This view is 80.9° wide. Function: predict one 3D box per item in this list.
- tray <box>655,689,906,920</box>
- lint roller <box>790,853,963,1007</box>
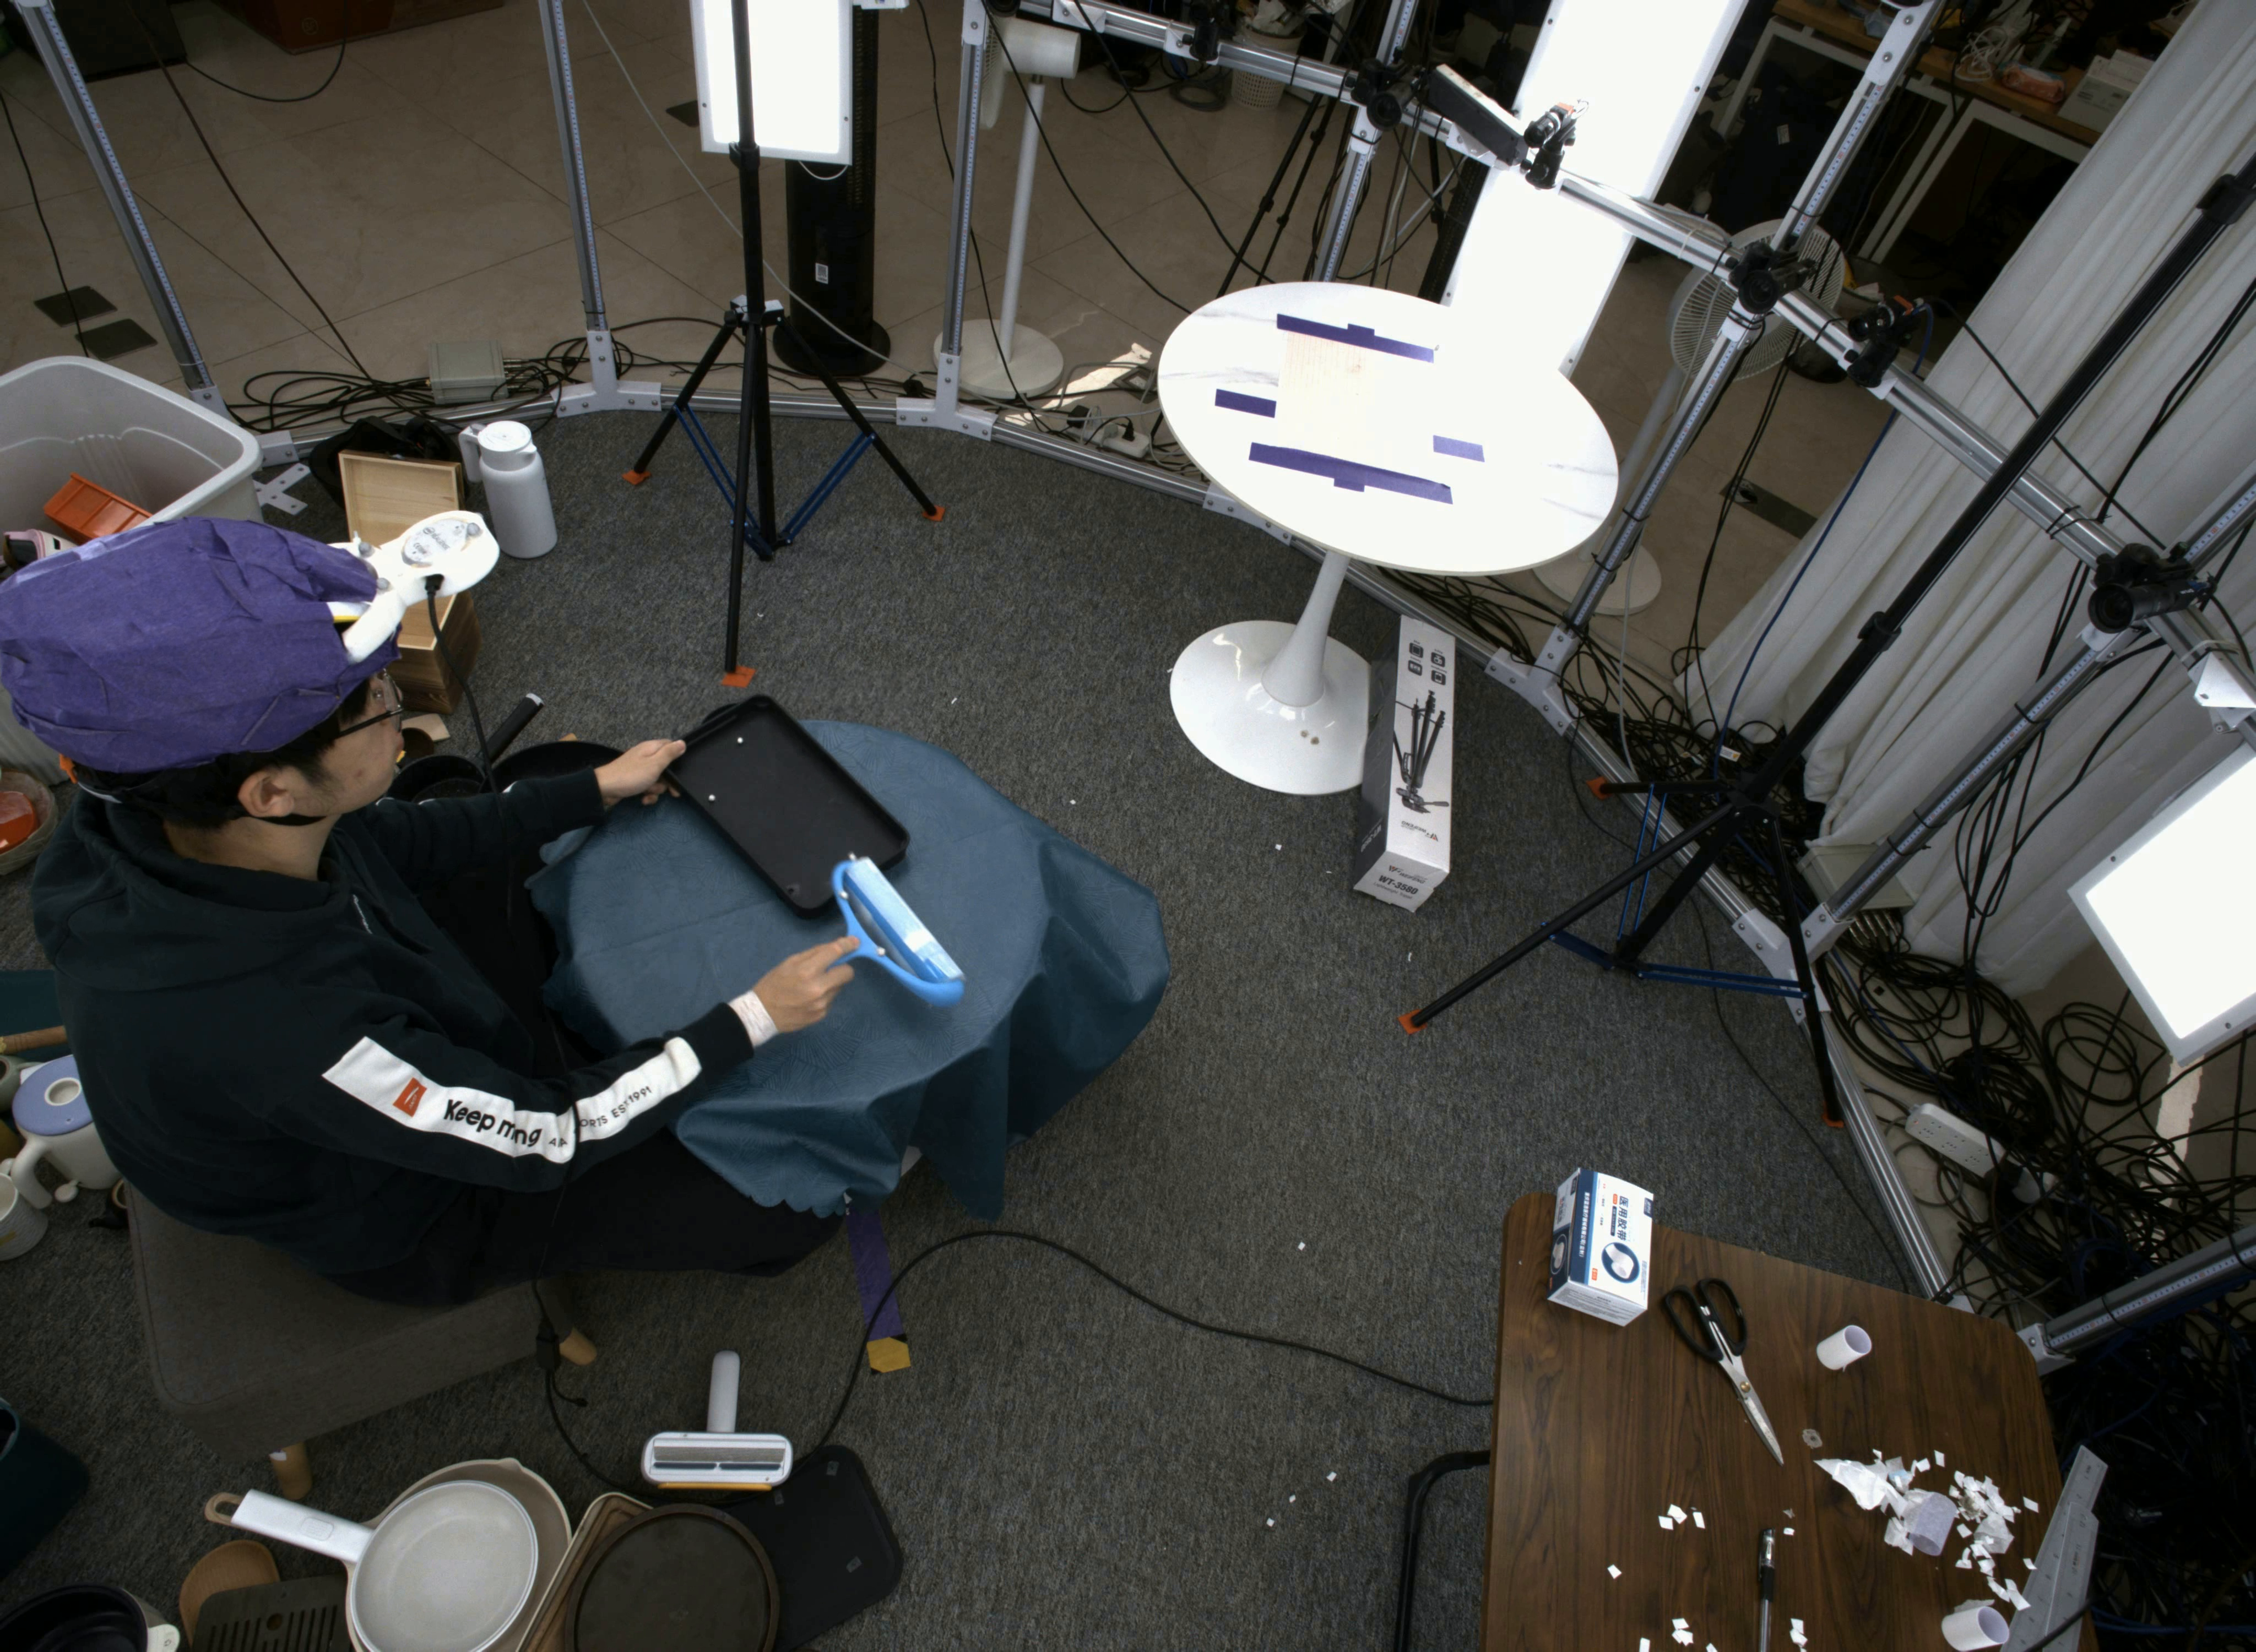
[{"bbox_3d":[-0.459,-0.033,1.707,0.313,0.037,0.184,43,57,11],"label":"tray"},{"bbox_3d":[-0.319,0.147,1.531,0.180,0.069,0.225,-36,75,-31],"label":"lint roller"}]
